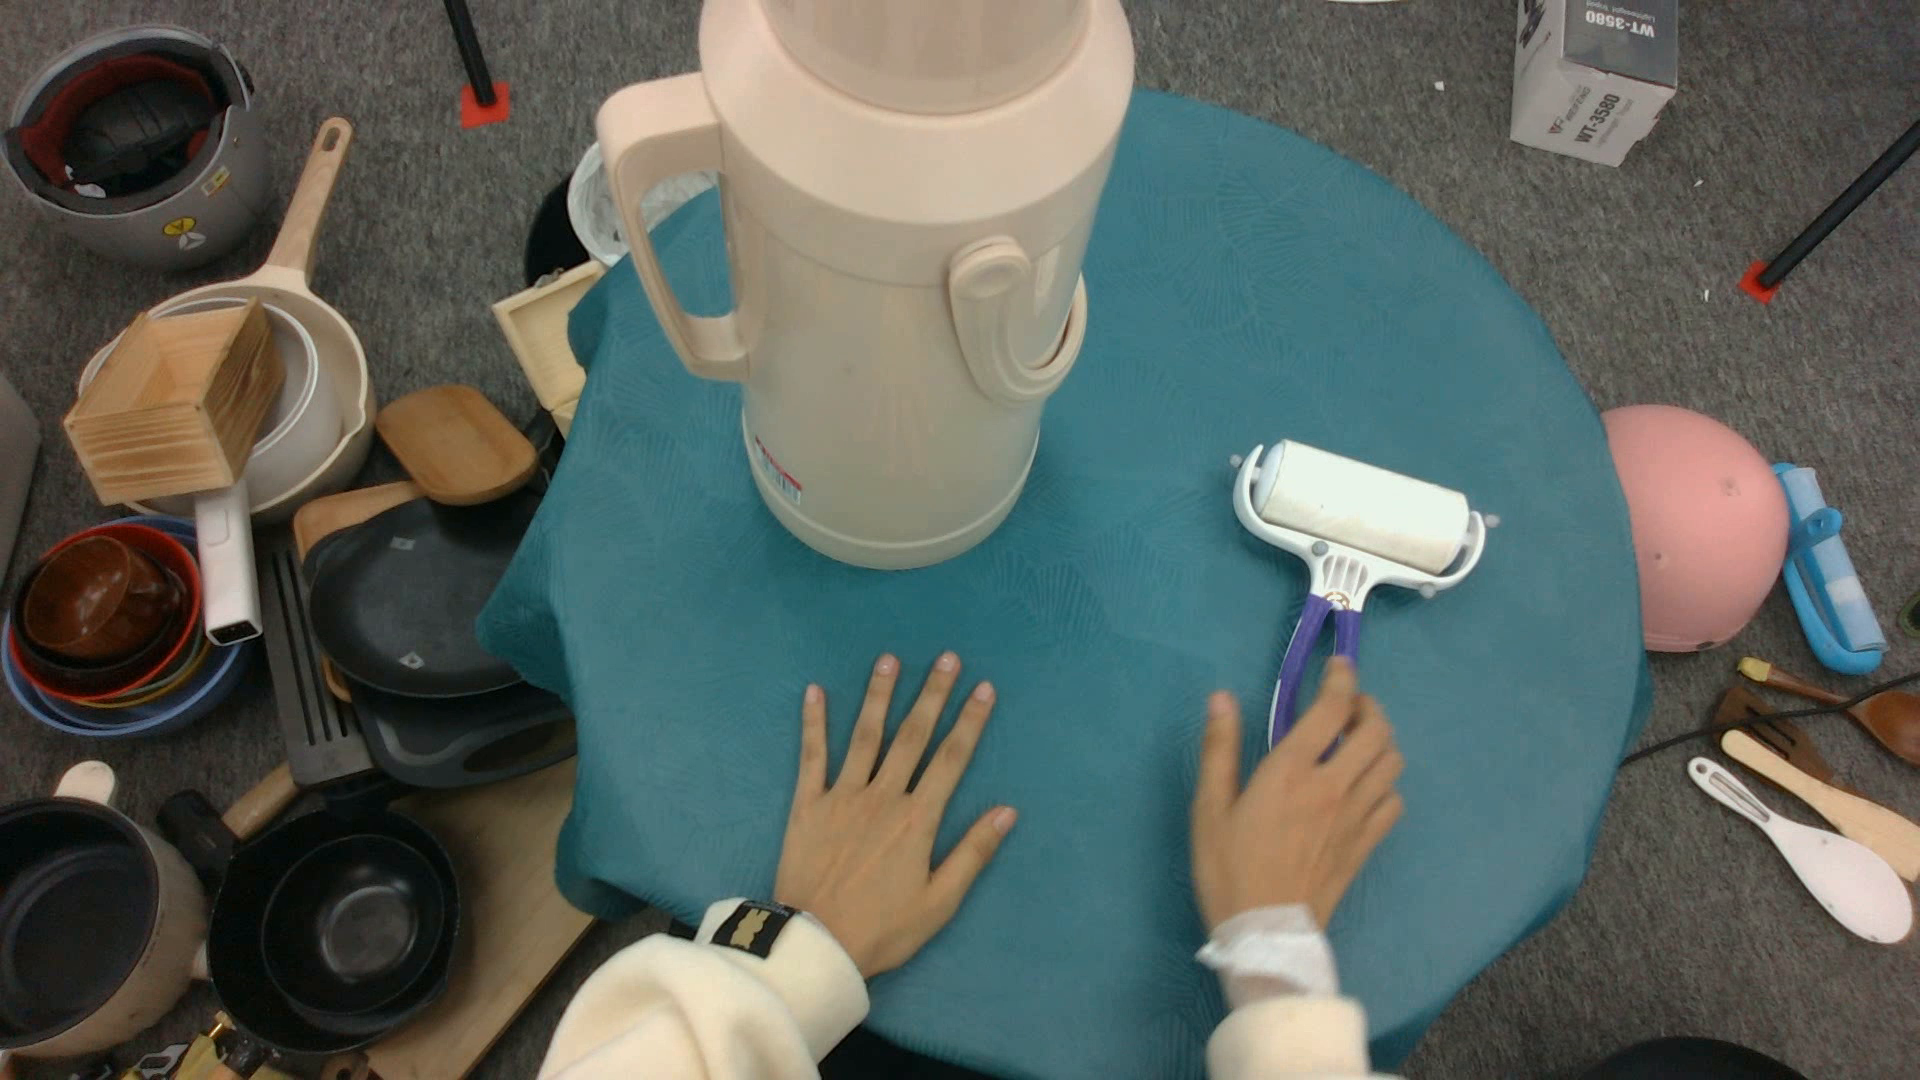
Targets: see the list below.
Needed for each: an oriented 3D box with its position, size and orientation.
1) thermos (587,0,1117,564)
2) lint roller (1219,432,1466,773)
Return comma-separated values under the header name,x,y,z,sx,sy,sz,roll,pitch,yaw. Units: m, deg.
name,x,y,z,sx,sy,sz,roll,pitch,yaw
thermos,-0.041,-0.137,0.585,0.207,0.404,0.175,-17,69,-12
lint roller,0.188,0.032,0.722,0.133,0.050,0.181,19,63,2
